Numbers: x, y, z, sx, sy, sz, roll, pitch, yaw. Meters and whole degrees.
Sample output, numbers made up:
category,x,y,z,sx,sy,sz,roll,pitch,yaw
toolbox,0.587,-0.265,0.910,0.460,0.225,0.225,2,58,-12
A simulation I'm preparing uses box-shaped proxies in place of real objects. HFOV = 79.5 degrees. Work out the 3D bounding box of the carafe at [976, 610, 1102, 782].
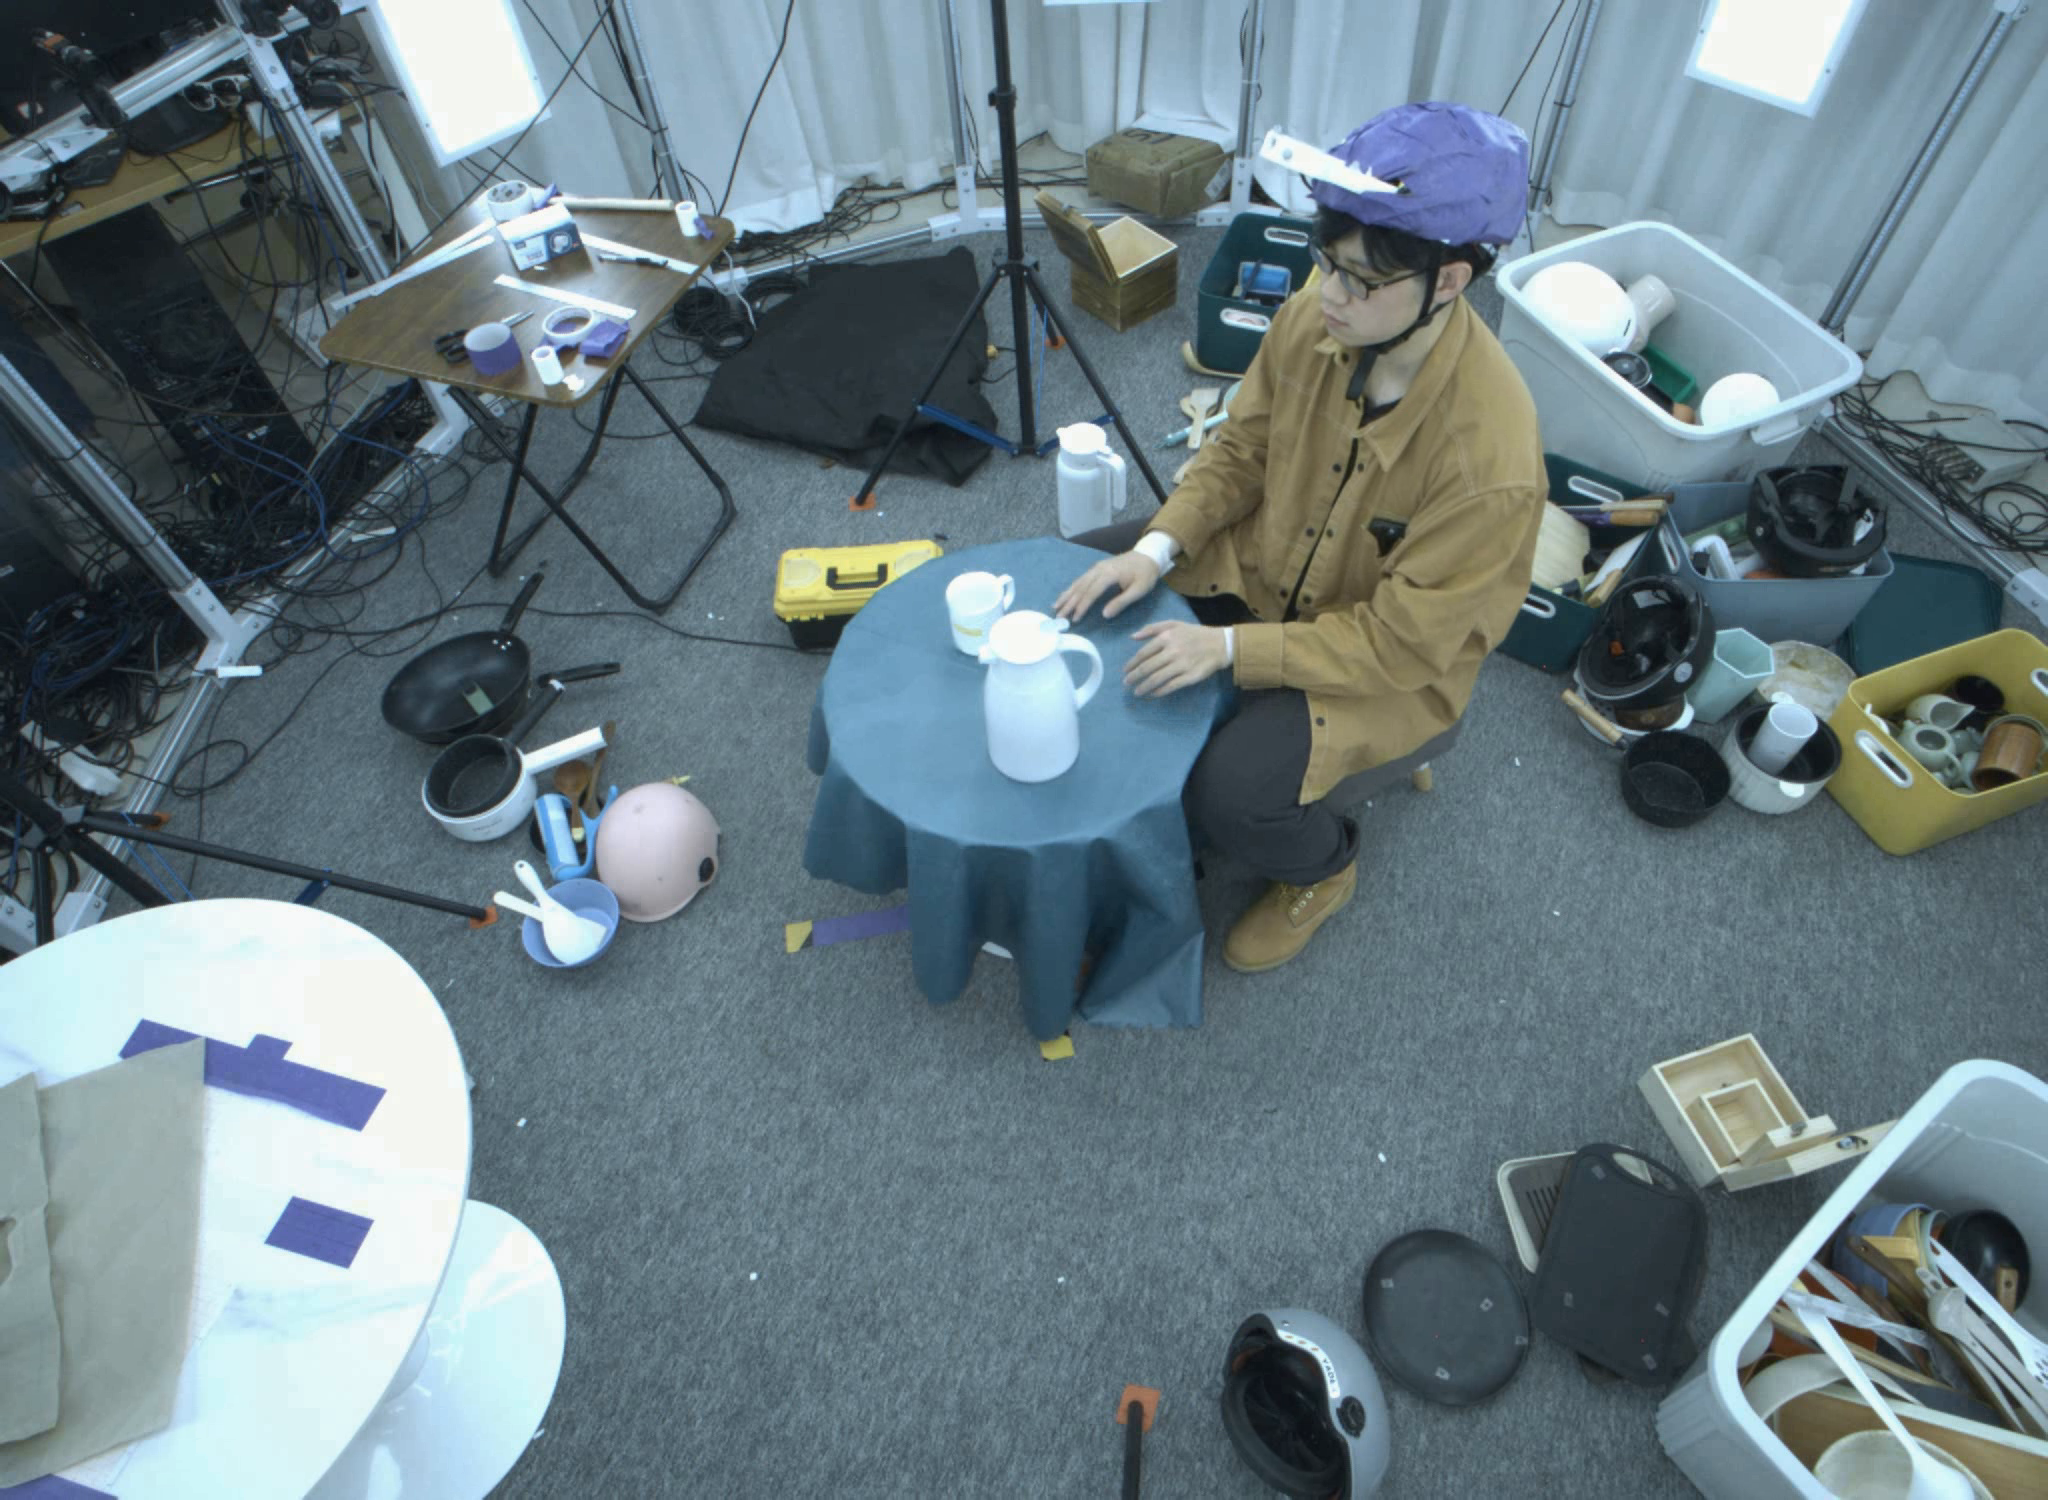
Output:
category,x,y,z,sx,sy,sz,roll,pitch,yaw
carafe,0.024,-0.085,1.689,0.168,0.251,0.130,-14,54,-7

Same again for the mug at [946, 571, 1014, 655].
category,x,y,z,sx,sy,sz,roll,pitch,yaw
mug,-0.062,-0.217,1.876,0.083,0.103,0.119,36,63,25
